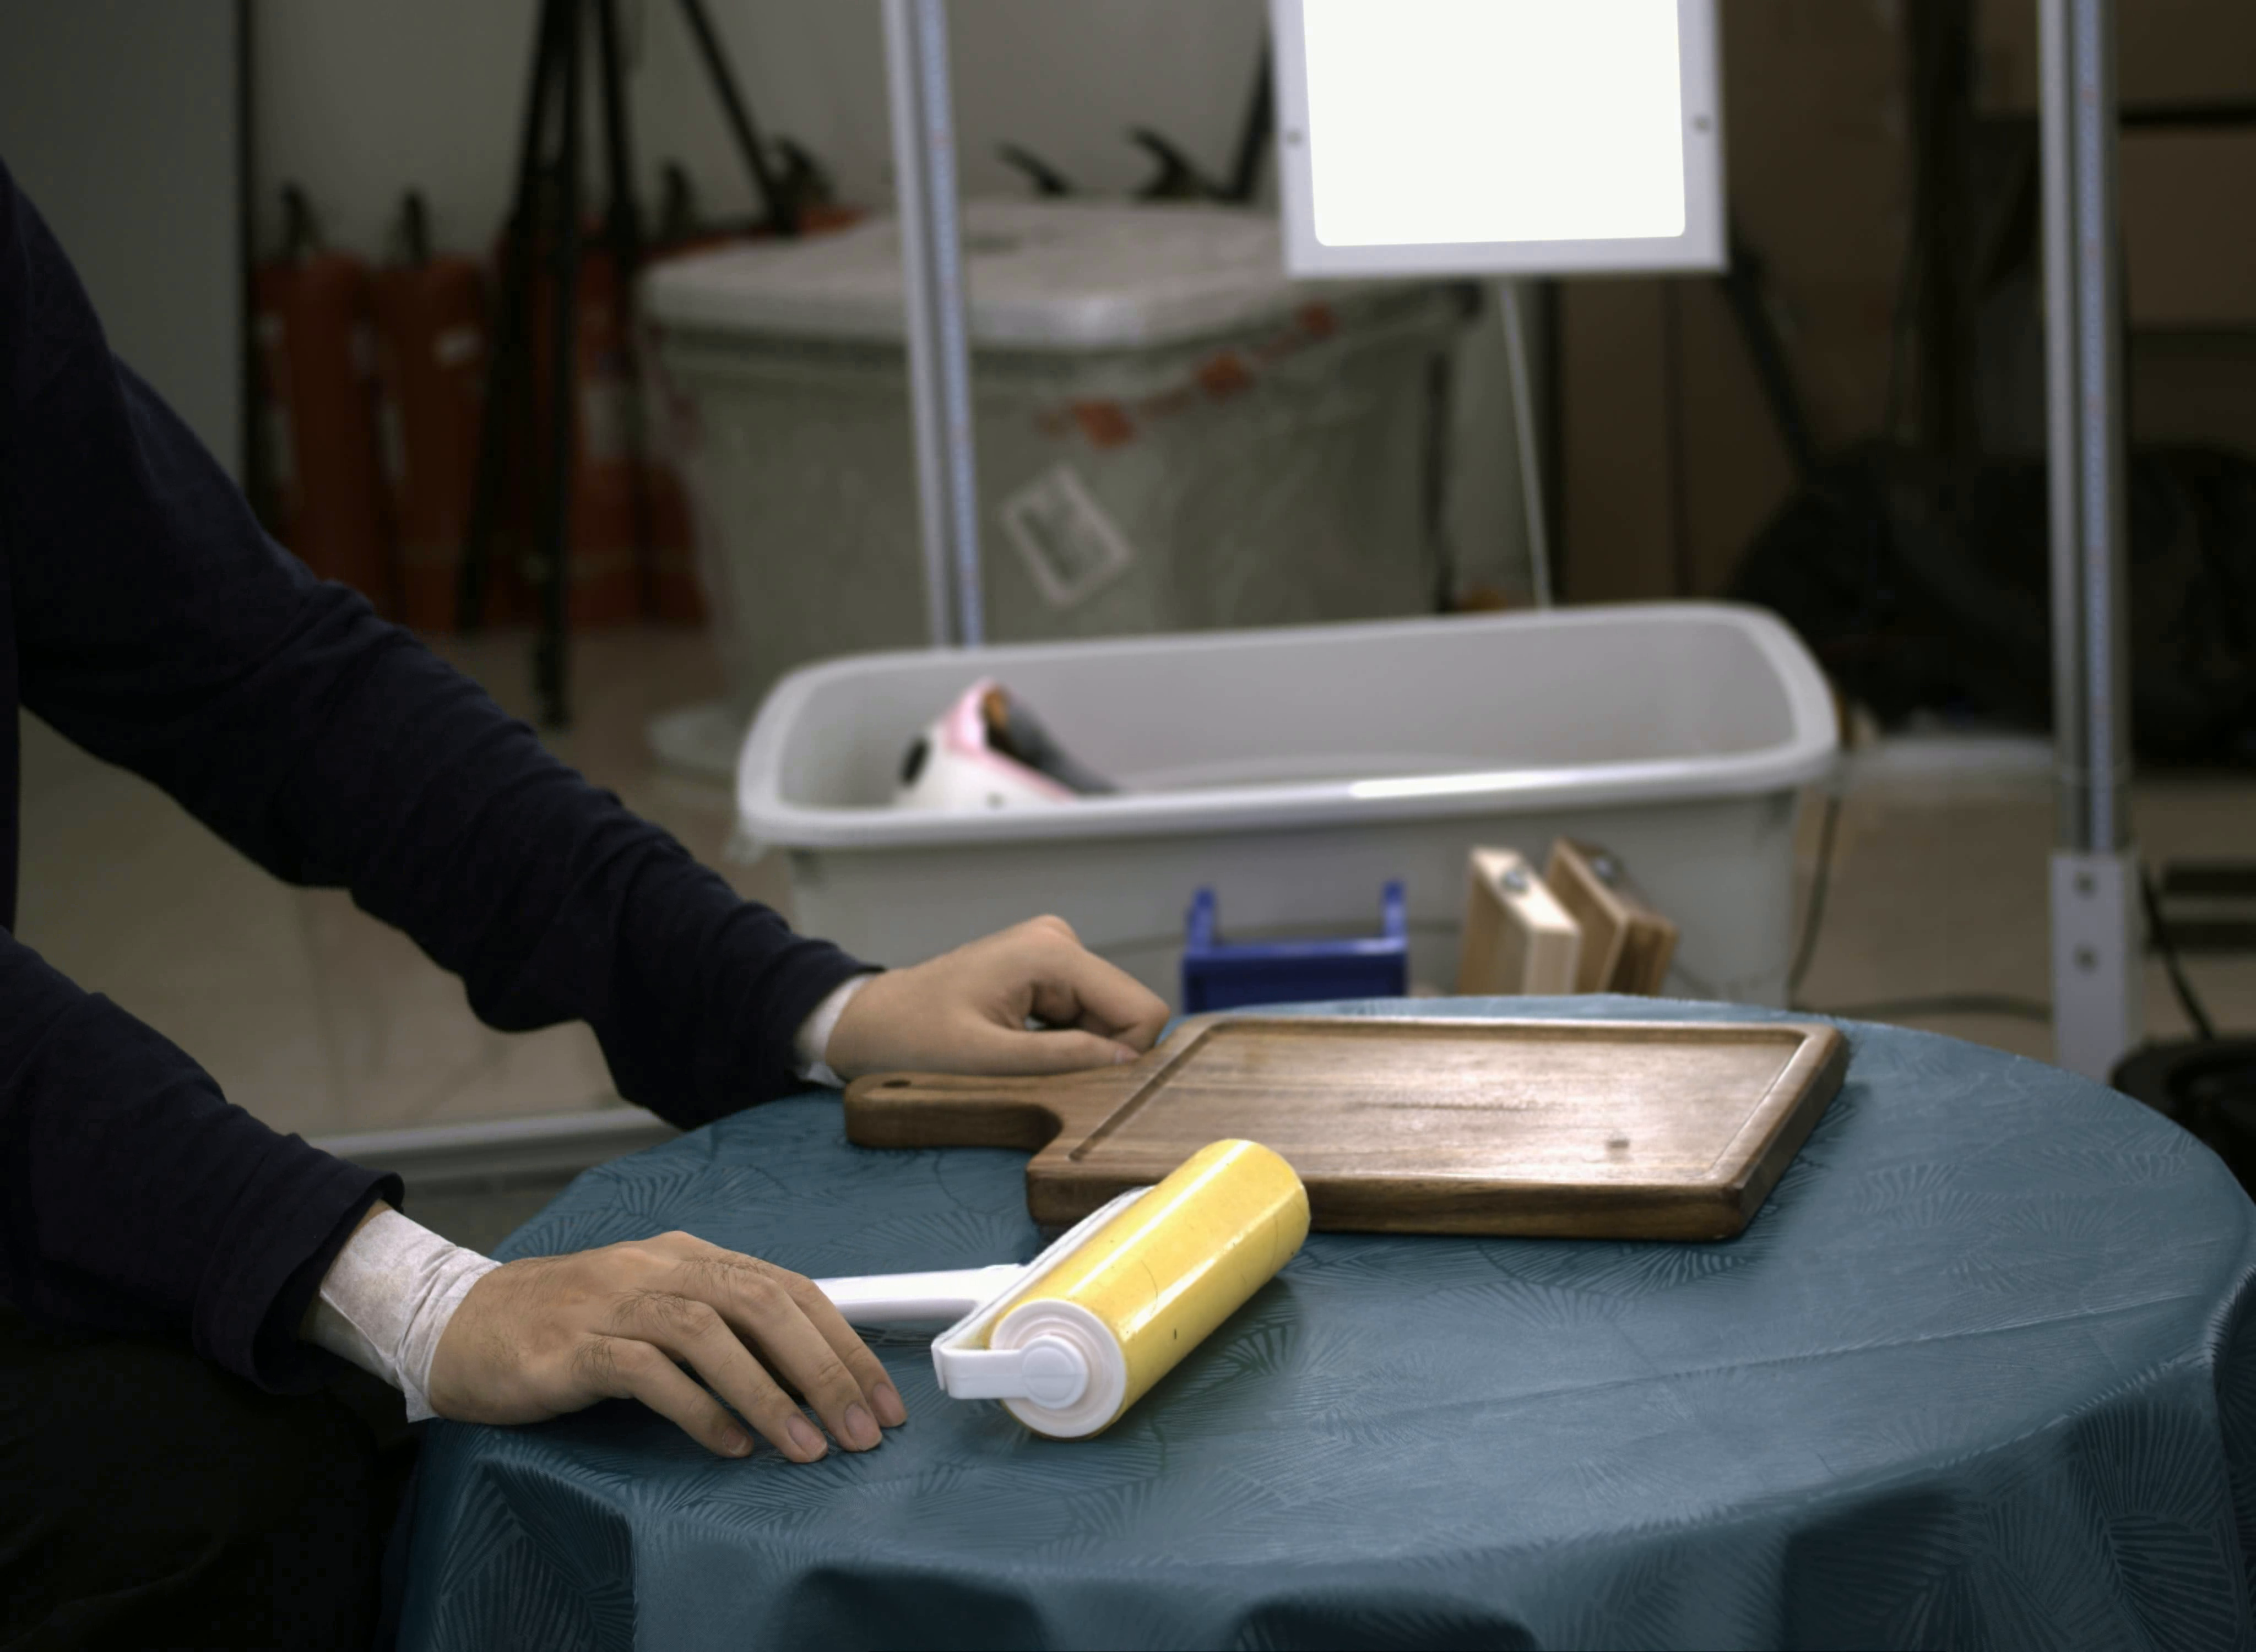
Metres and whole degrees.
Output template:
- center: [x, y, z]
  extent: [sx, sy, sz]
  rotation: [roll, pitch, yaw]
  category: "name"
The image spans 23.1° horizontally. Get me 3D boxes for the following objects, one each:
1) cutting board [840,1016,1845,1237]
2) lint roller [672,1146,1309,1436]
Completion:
- center: [0.065, 0.102, 1.935]
  extent: [0.357, 0.023, 0.197]
  rotation: [0, 14, 21]
  category: "cutting board"
- center: [-0.058, 0.142, 1.756]
  extent: [0.195, 0.051, 0.171]
  rotation: [4, 15, 22]
  category: "lint roller"
